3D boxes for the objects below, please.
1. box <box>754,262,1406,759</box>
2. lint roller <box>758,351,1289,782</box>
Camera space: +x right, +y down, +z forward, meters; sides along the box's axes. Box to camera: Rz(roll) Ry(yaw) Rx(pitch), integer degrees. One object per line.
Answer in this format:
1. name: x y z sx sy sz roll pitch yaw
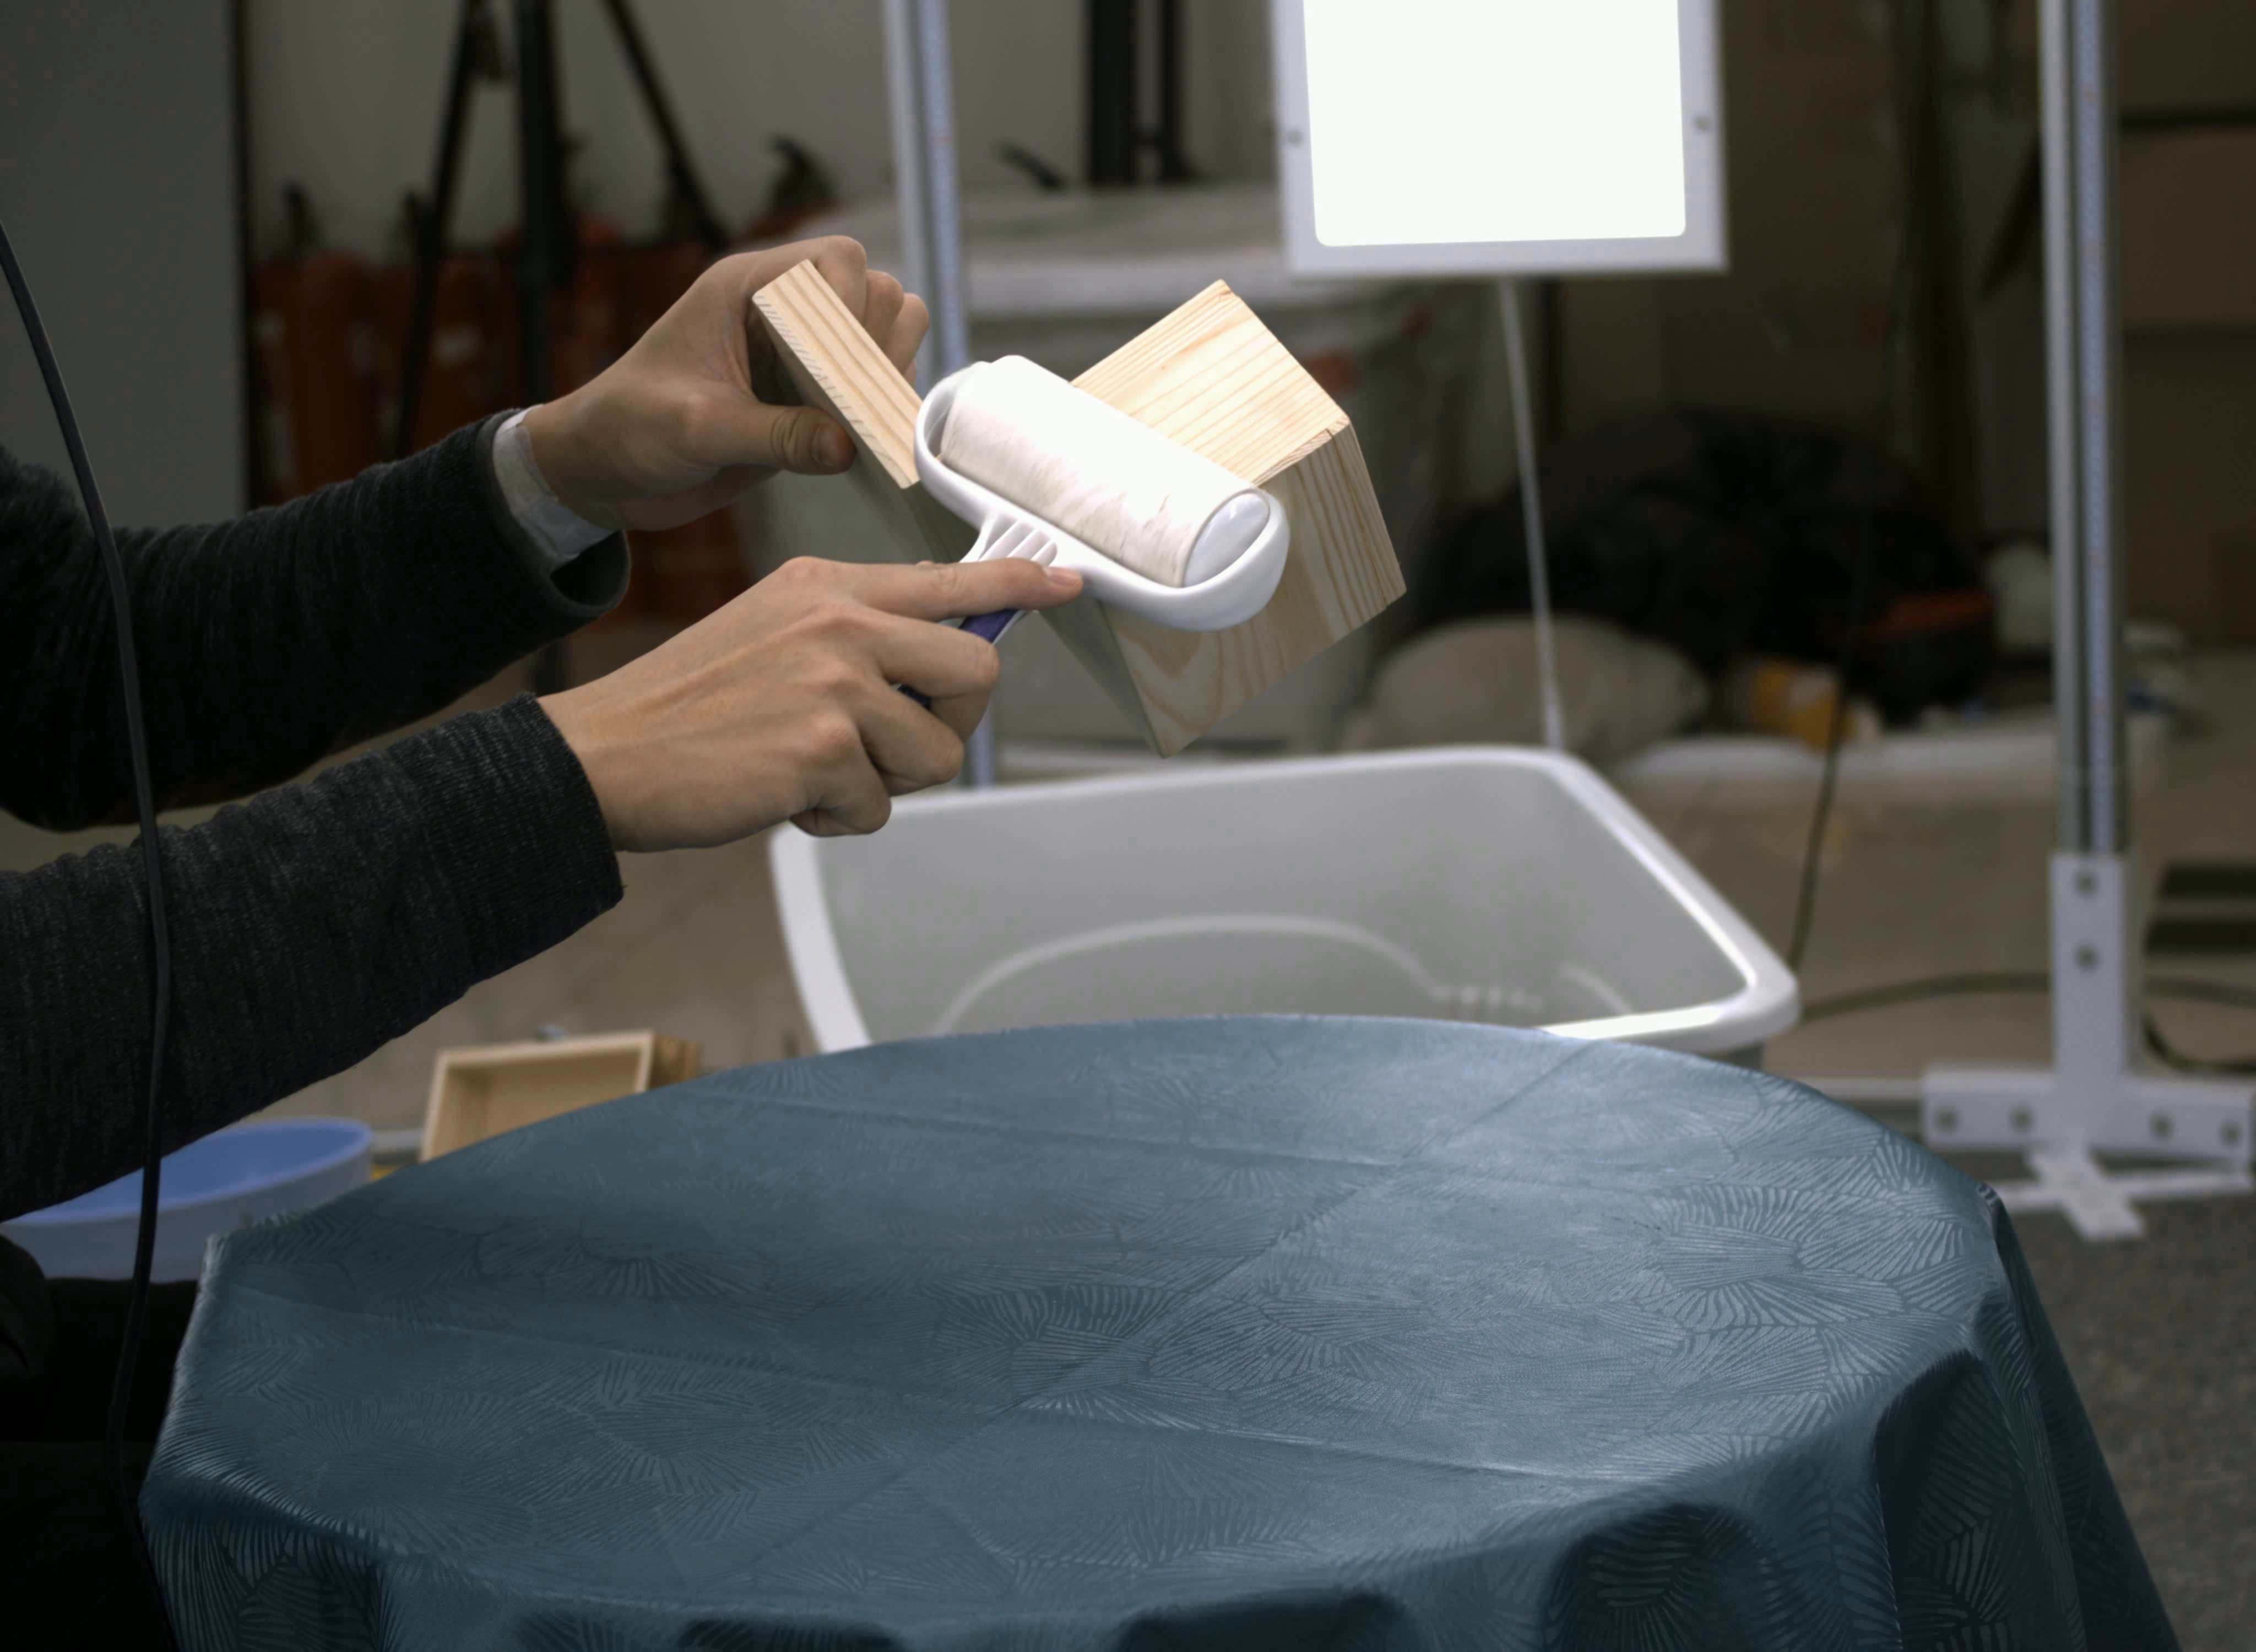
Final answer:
1. box: -0.015 -0.129 1.825 0.133 0.102 0.186 -35 56 -6
2. lint roller: -0.050 -0.076 1.689 0.135 0.050 0.177 33 51 30
